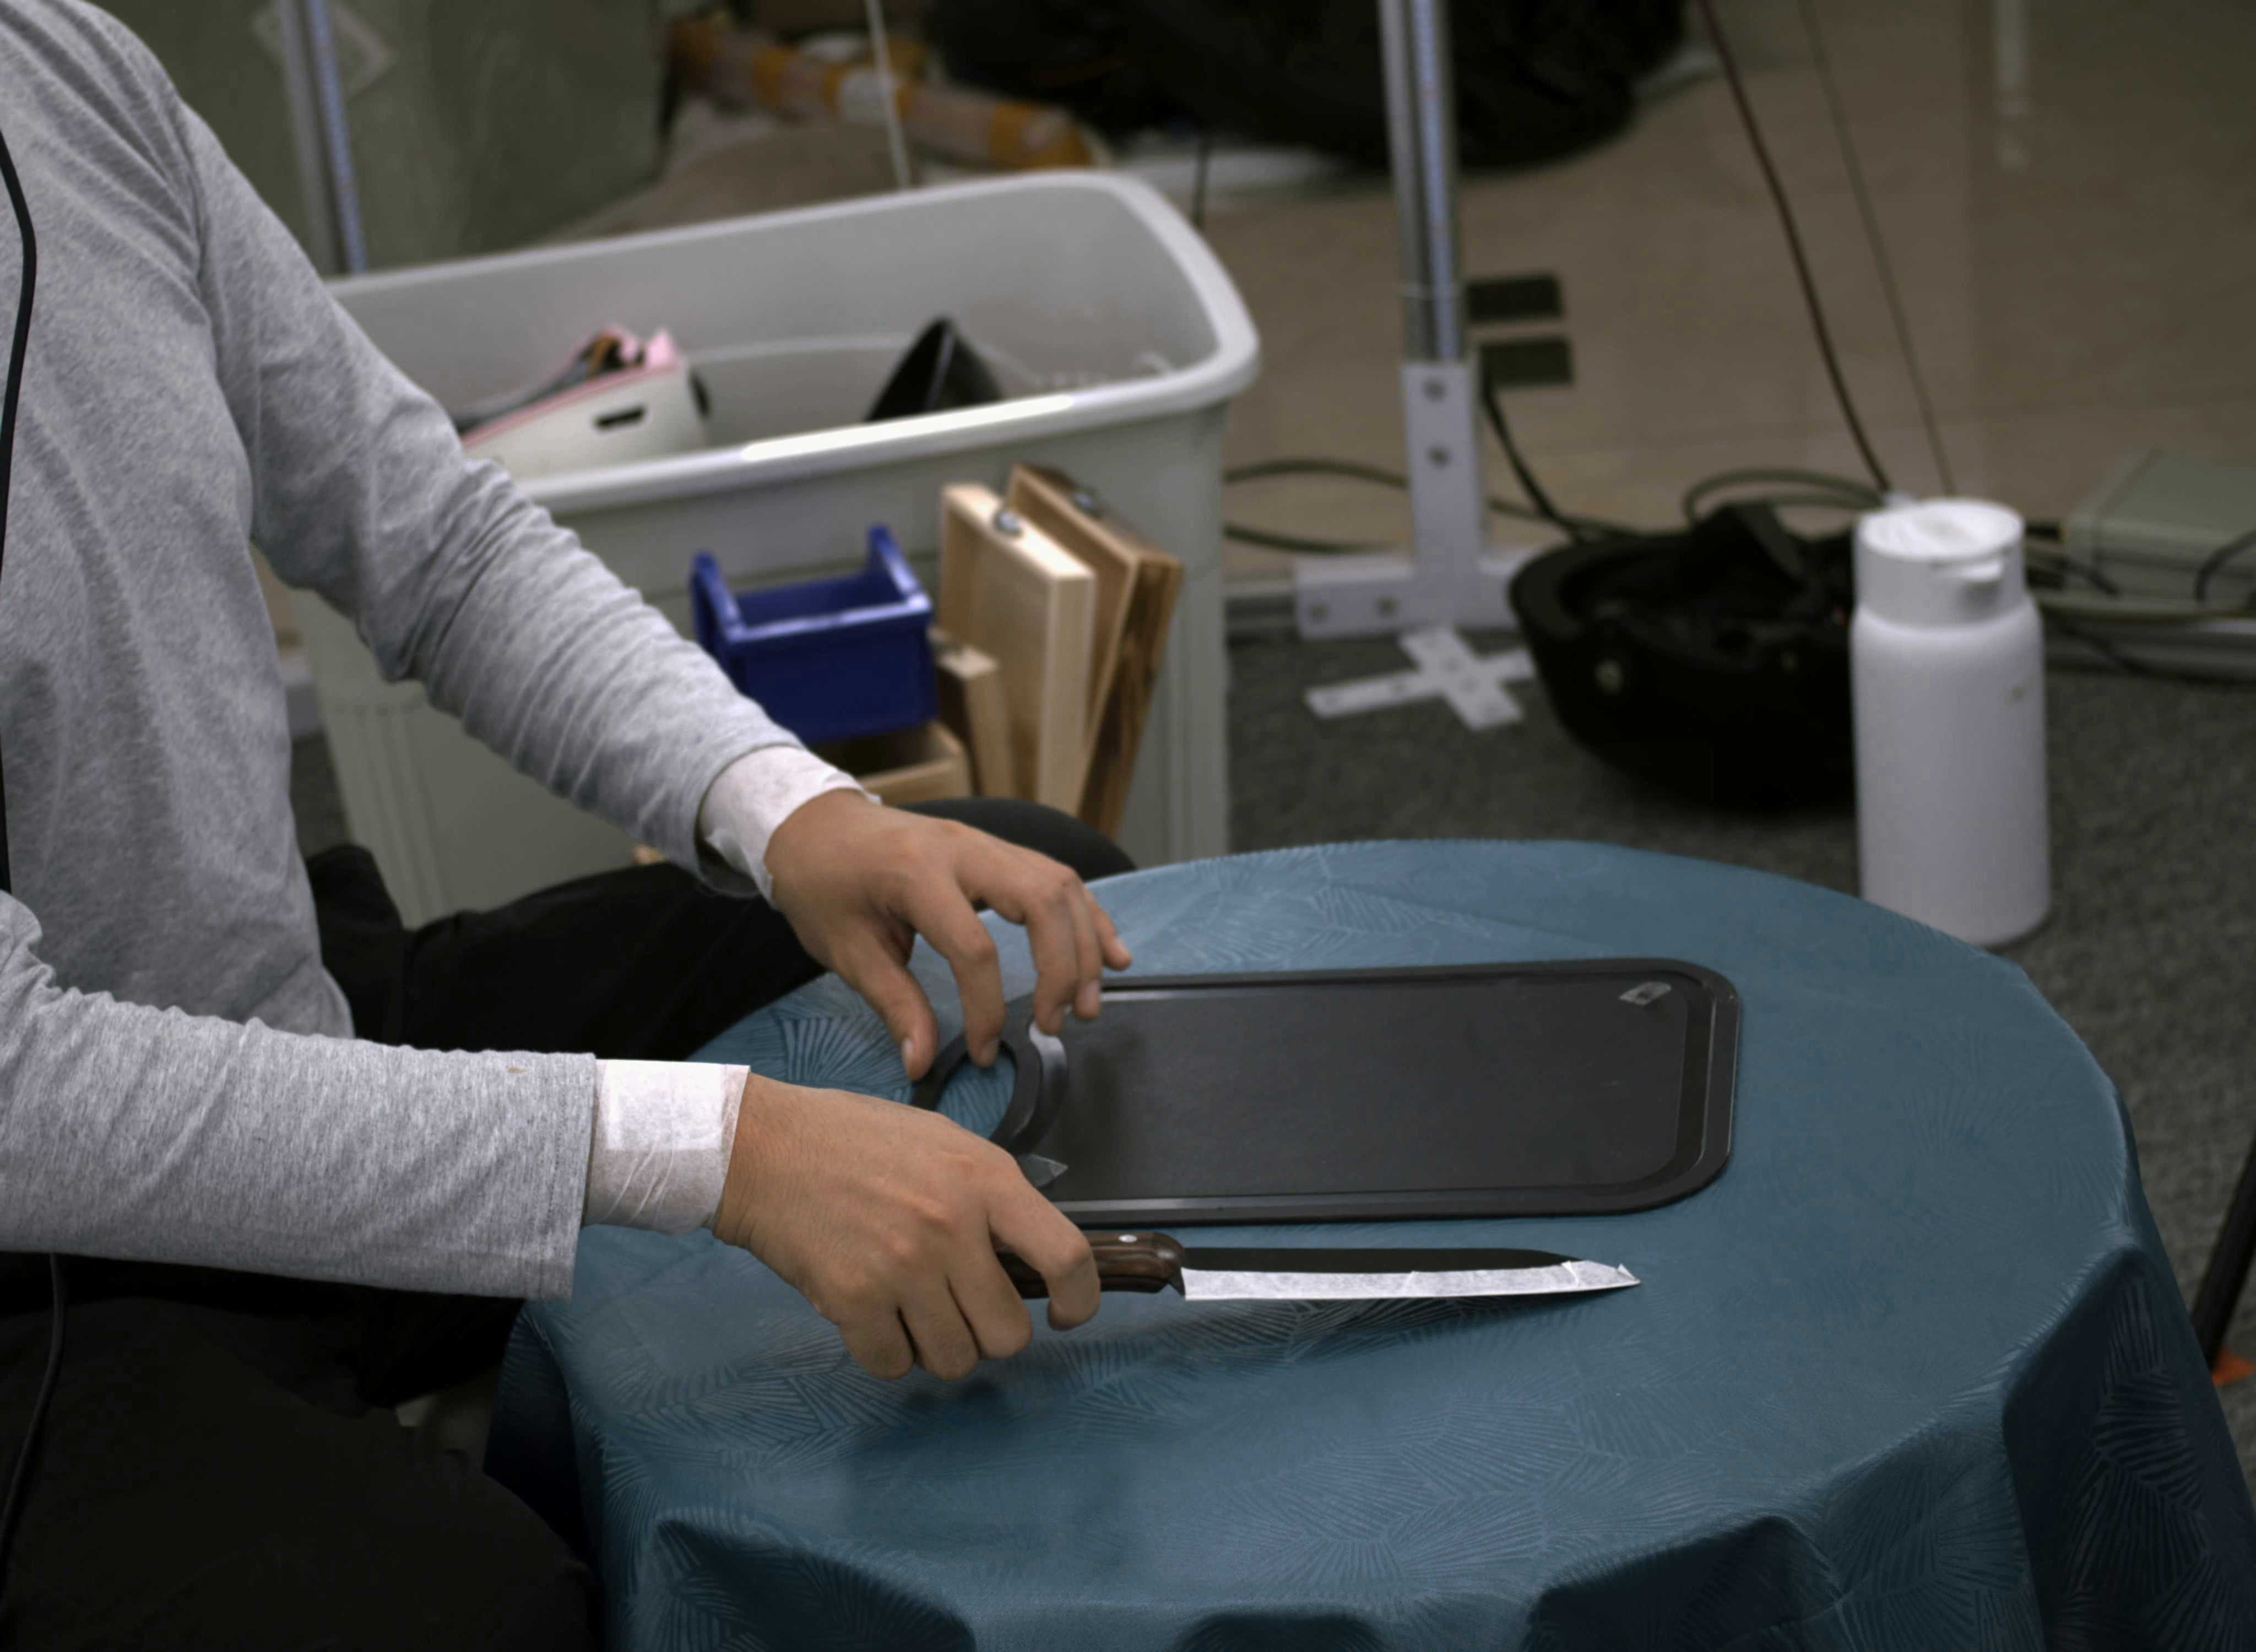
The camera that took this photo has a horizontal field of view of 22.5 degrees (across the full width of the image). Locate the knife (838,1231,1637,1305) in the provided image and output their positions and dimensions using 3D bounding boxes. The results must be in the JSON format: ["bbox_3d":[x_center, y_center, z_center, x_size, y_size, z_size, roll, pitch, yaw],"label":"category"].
[{"bbox_3d":[0.040,0.161,2.044,0.288,0.020,0.049,1,22,-4],"label":"knife"}]

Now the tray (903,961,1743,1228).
[{"bbox_3d":[0.074,0.102,2.207,0.325,0.010,0.208,-2,25,10],"label":"tray"}]
